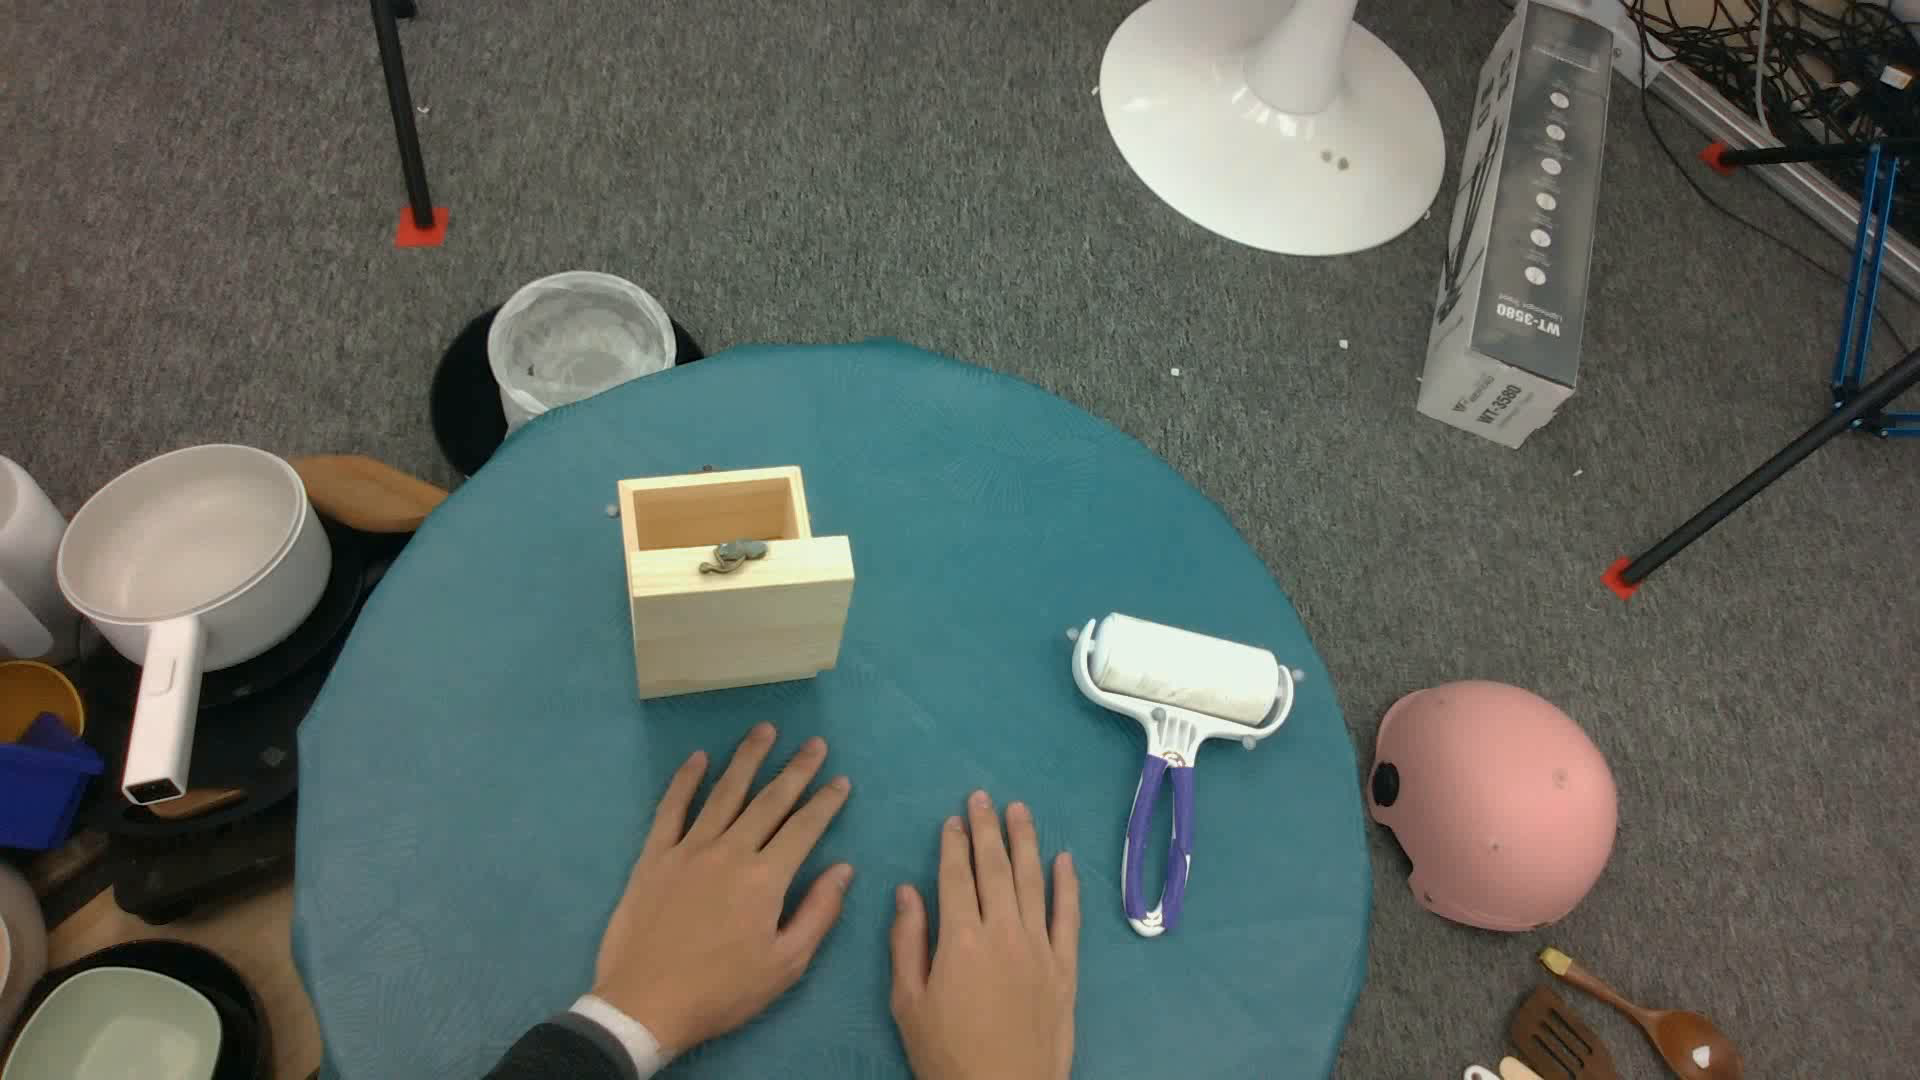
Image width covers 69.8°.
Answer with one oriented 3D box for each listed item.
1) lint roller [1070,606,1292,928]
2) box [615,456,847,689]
[{"bbox_3d":[0.120,0.128,0.791,0.133,0.050,0.181,16,58,-4],"label":"lint roller"},{"bbox_3d":[-0.127,0.004,0.729,0.103,0.183,0.134,-6,65,-14],"label":"box"}]
